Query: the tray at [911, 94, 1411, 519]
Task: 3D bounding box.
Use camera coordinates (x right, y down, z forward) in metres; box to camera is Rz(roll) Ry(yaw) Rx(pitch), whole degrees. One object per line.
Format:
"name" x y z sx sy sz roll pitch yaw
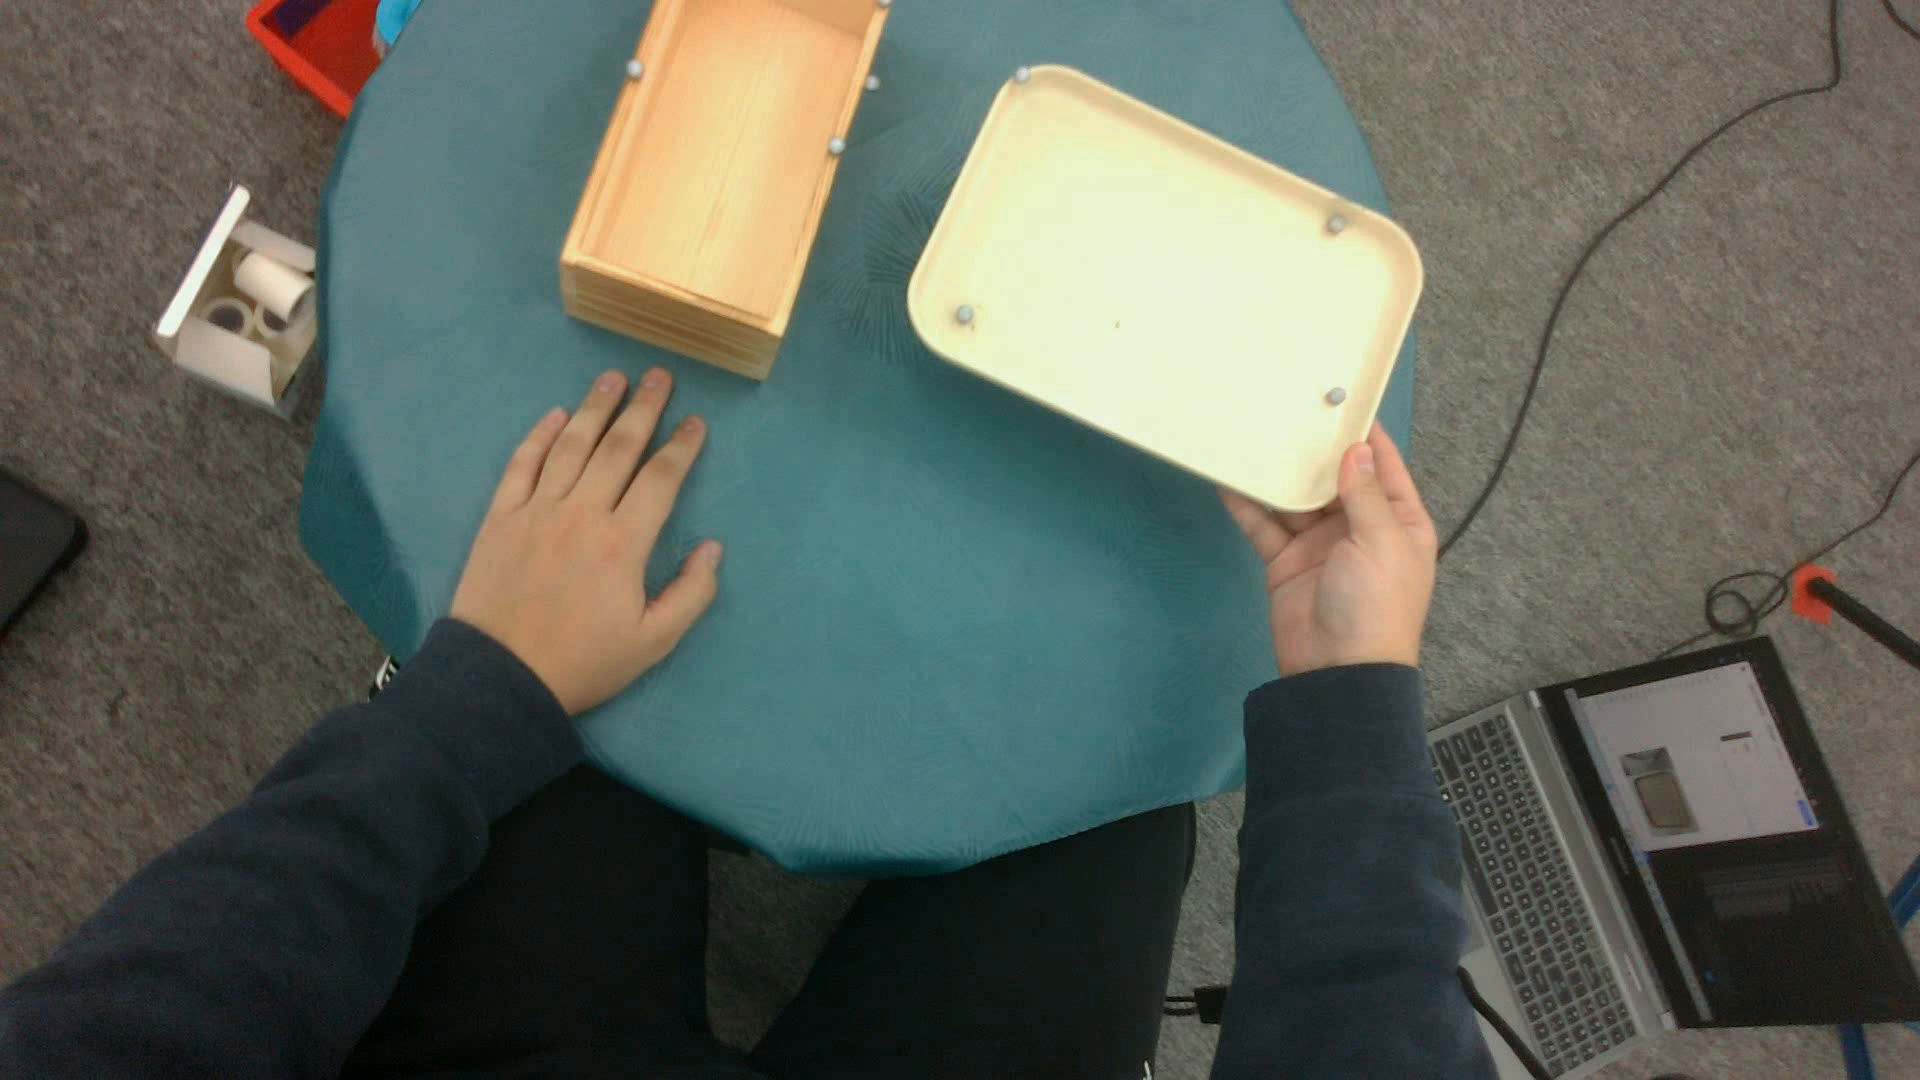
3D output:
"tray" 0.106 -0.121 0.712 0.239 0.017 0.172 24 74 -2

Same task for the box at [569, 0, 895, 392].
"box" -0.115 -0.198 0.715 0.107 0.080 0.212 17 76 -9
